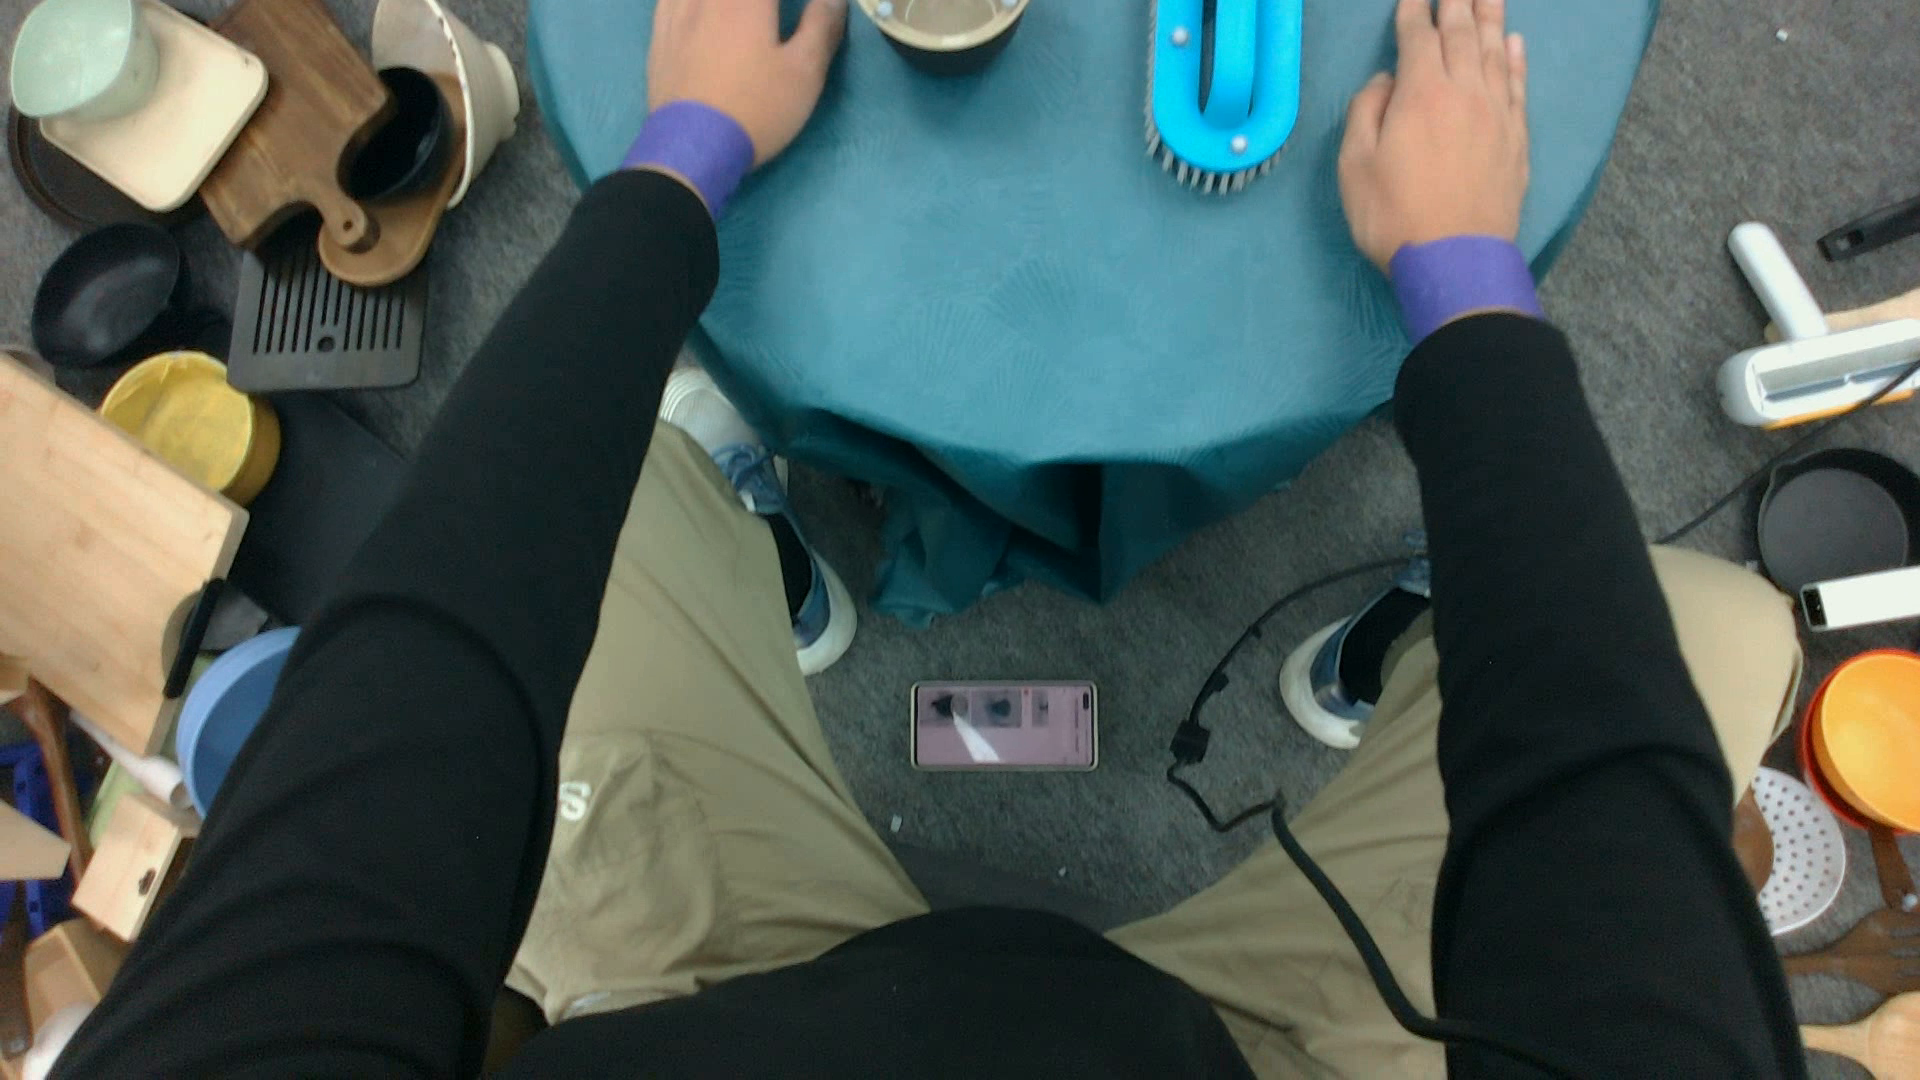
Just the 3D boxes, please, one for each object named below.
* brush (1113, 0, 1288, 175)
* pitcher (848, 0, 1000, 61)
[{"bbox_3d":[0.124,-0.260,0.689,0.084,0.063,0.142,5,84,-2],"label":"brush"},{"bbox_3d":[-0.017,-0.287,0.692,0.083,0.071,0.096,8,82,4],"label":"pitcher"}]
